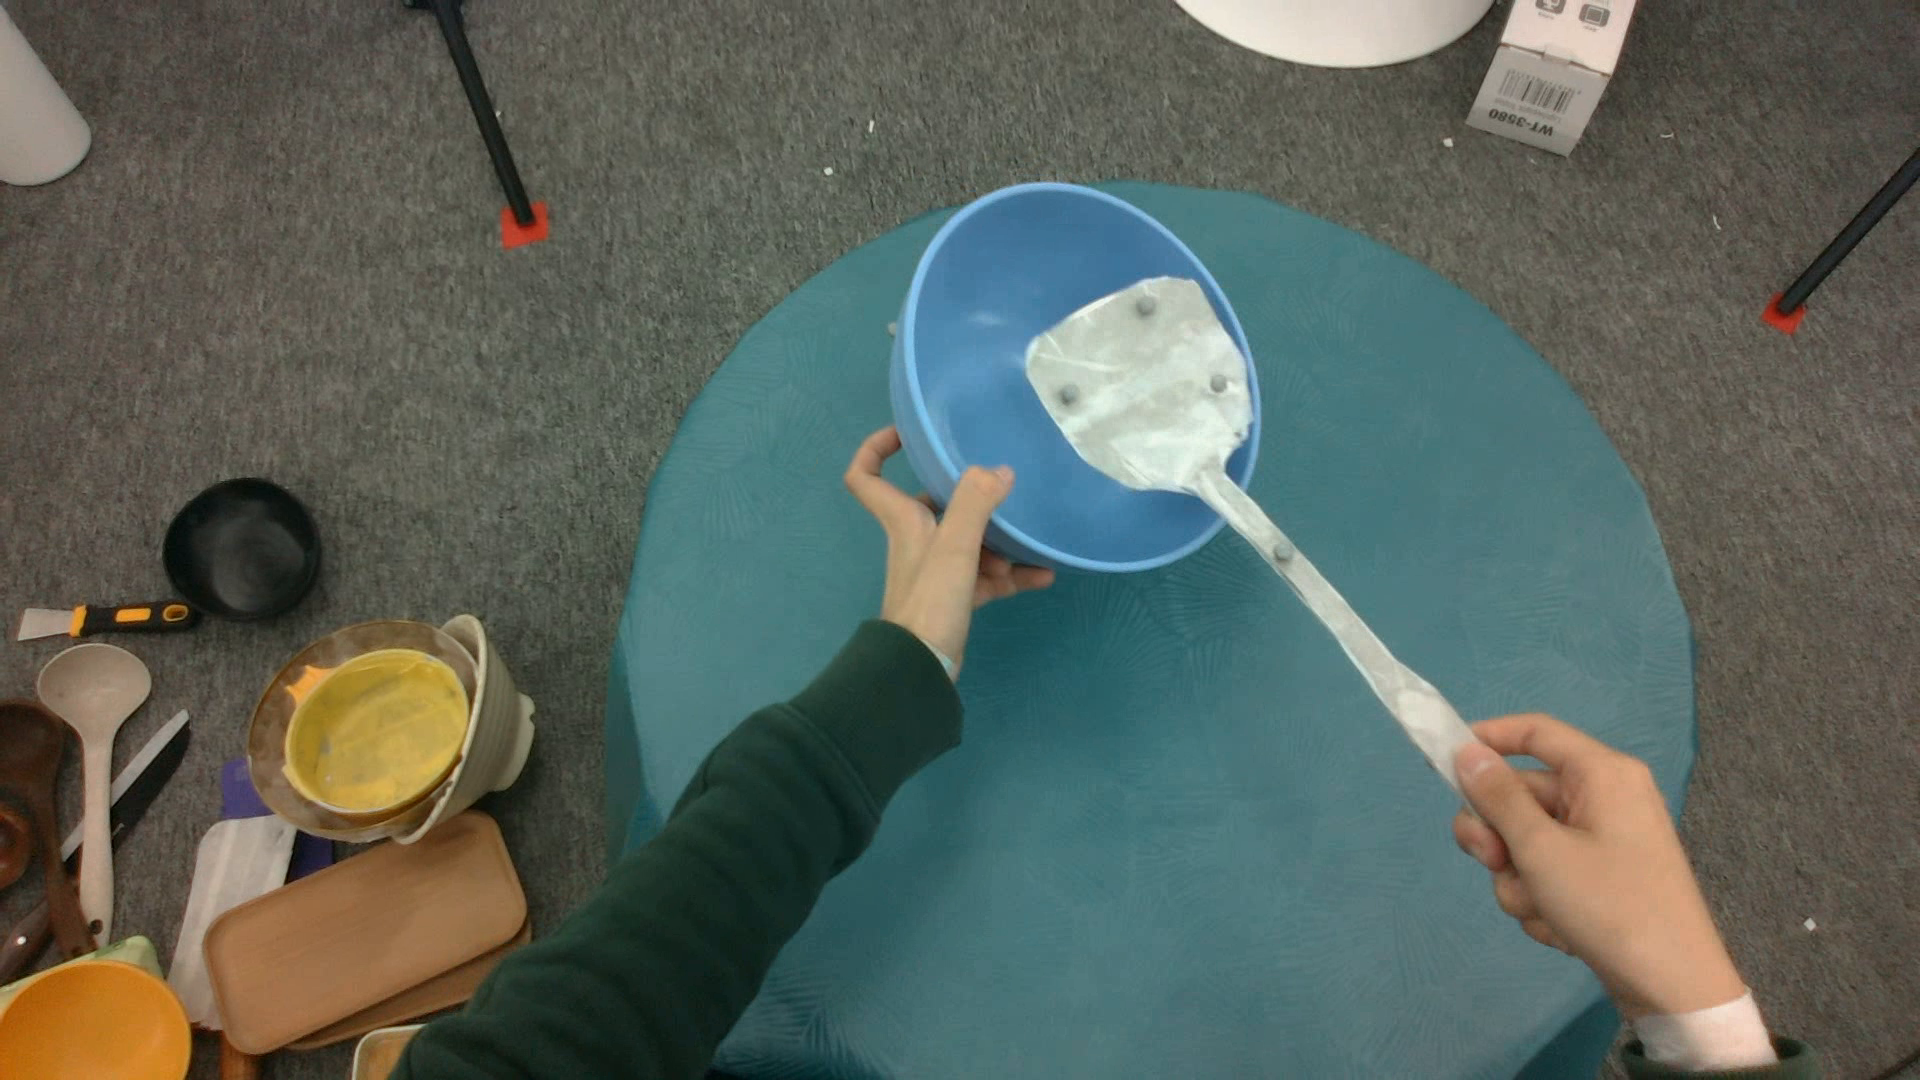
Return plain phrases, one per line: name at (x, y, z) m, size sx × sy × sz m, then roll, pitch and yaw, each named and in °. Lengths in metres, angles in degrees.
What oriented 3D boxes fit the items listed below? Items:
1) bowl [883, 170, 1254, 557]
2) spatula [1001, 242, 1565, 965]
bowl at (0.042, -0.076, 0.698) m, size 0.197 × 0.095 × 0.197 m, roll 8°, pitch 70°, yaw -24°
spatula at (0.139, 0.008, 0.579) m, size 0.099 × 0.044 × 0.365 m, roll -23°, pitch 57°, yaw -16°
